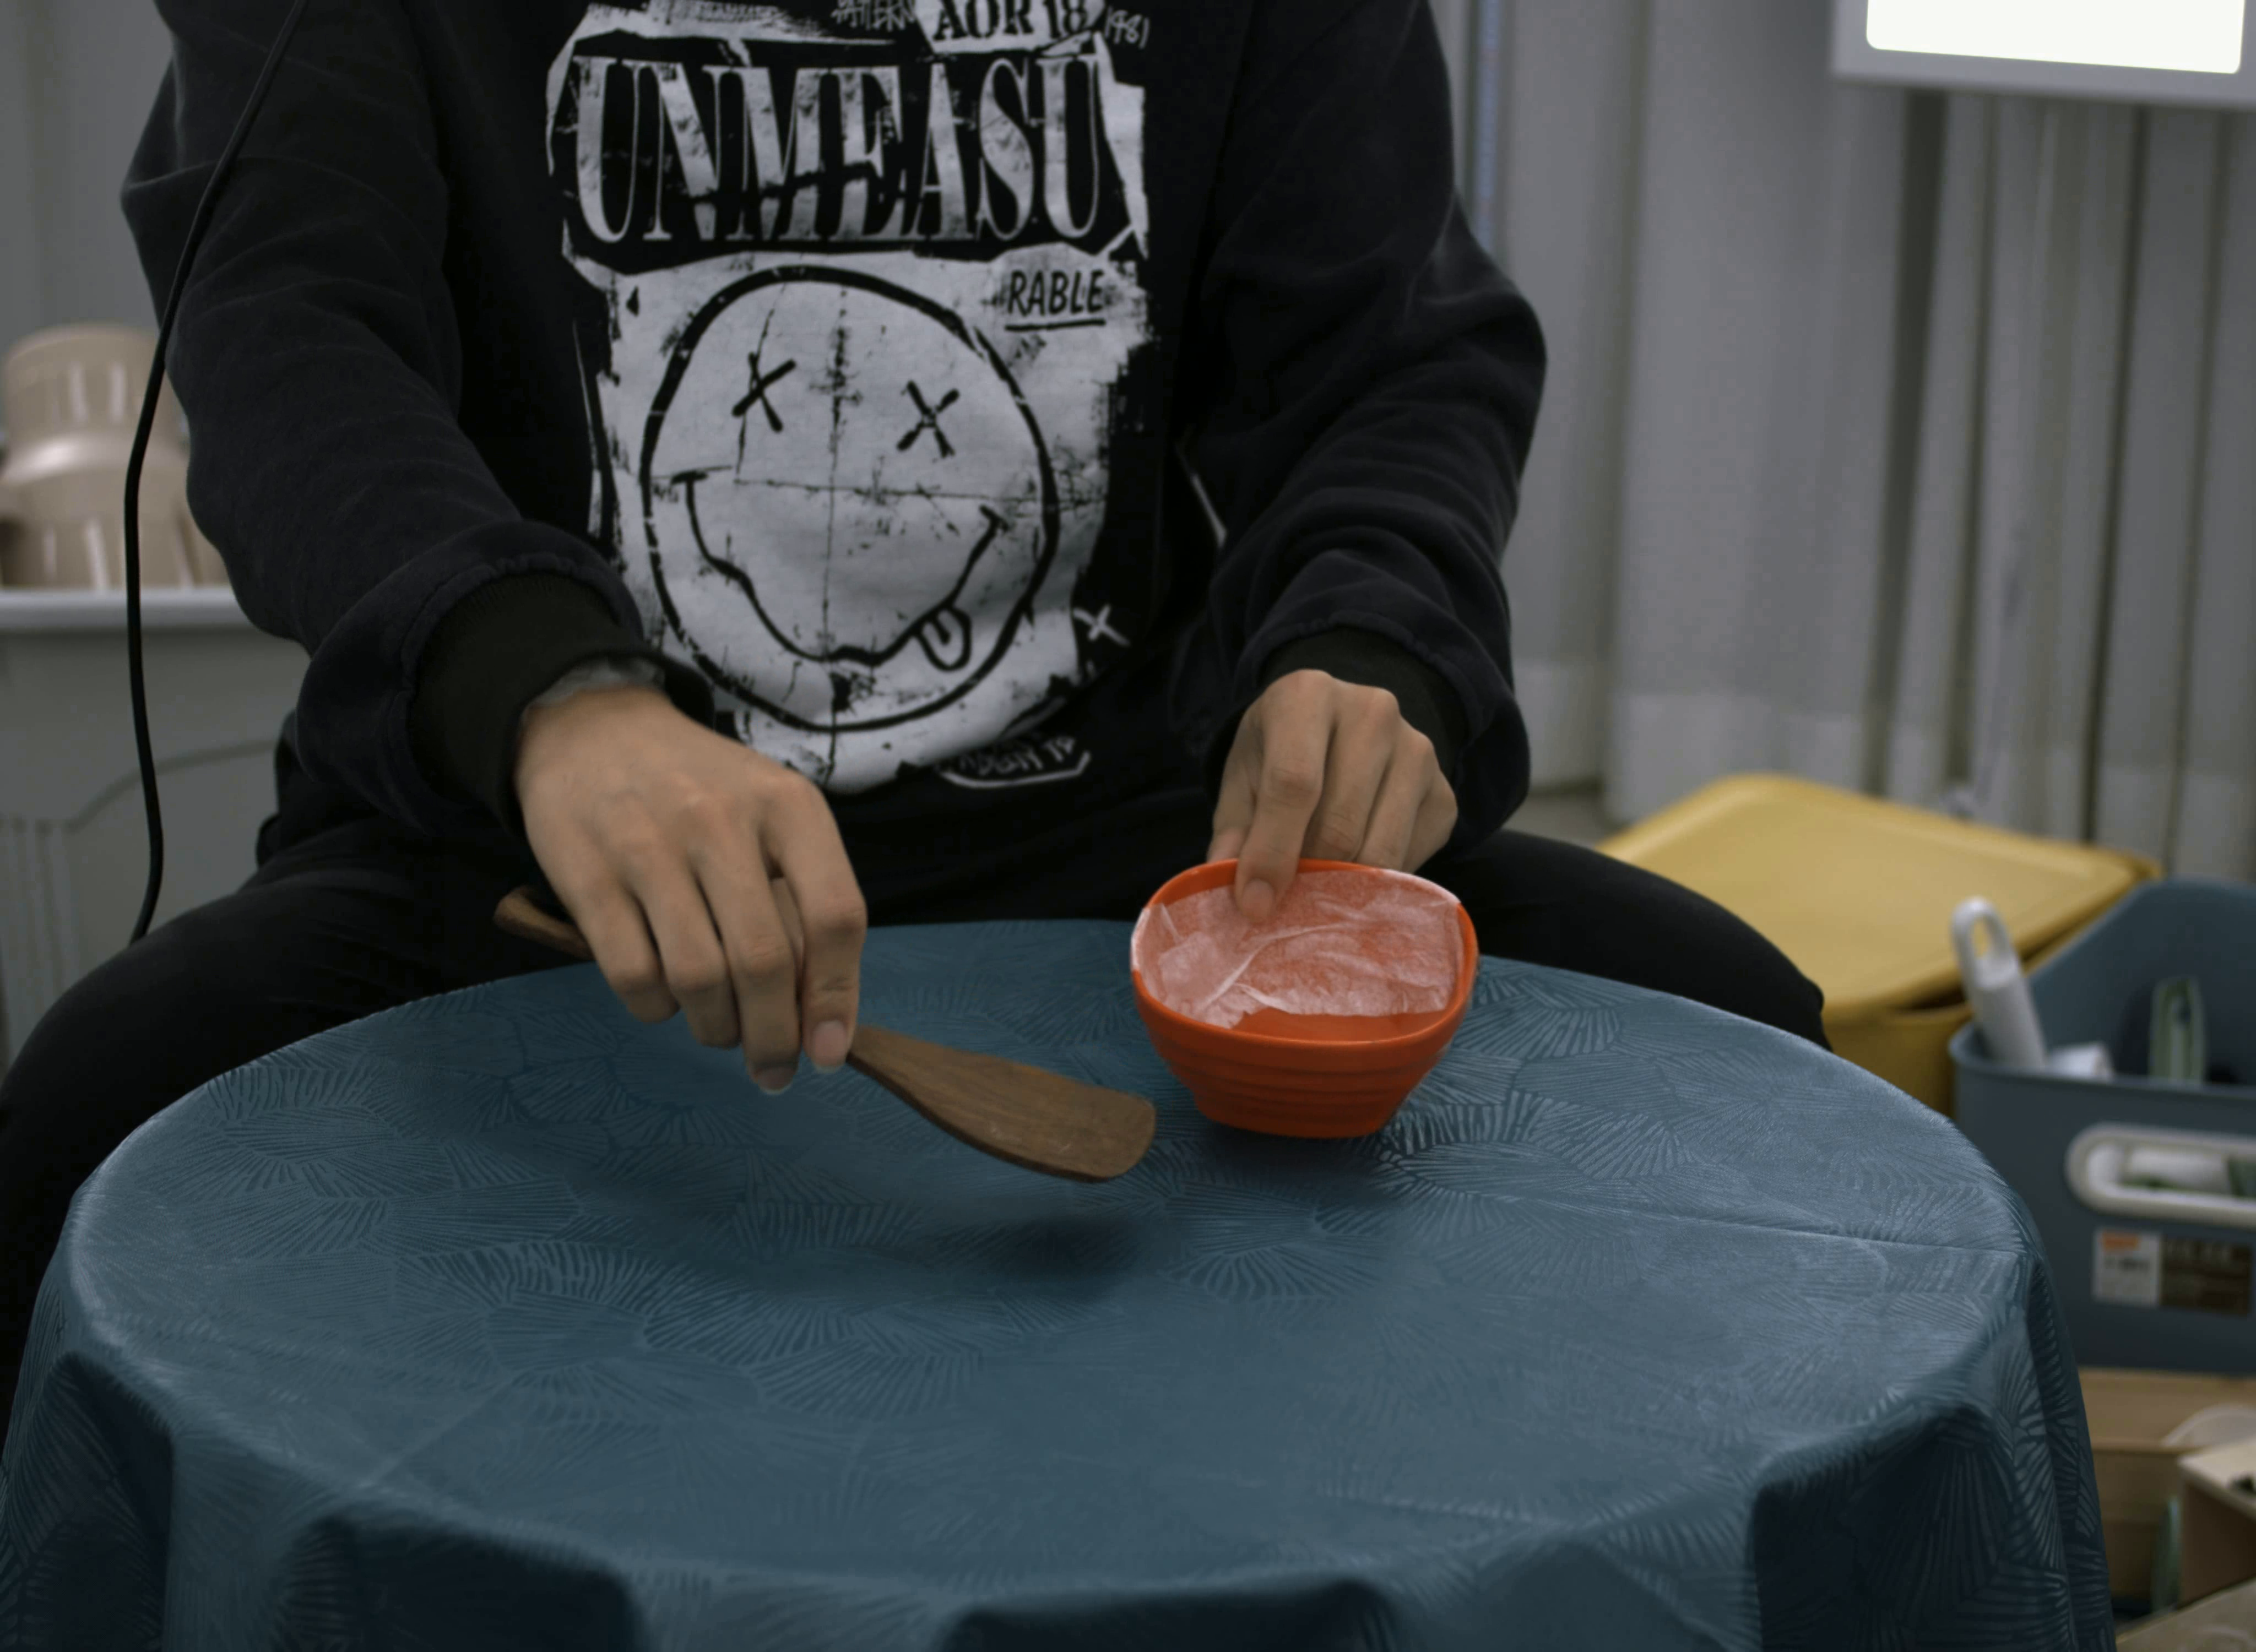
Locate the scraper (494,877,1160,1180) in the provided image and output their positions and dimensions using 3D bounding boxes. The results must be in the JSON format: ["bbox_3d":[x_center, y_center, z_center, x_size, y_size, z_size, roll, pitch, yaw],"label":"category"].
[{"bbox_3d":[-0.091,0.058,1.578,0.210,0.011,0.075,22,20,3],"label":"scraper"}]

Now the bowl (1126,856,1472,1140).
[{"bbox_3d":[0.053,0.060,1.678,0.118,0.052,0.118,2,33,-1],"label":"bowl"}]
